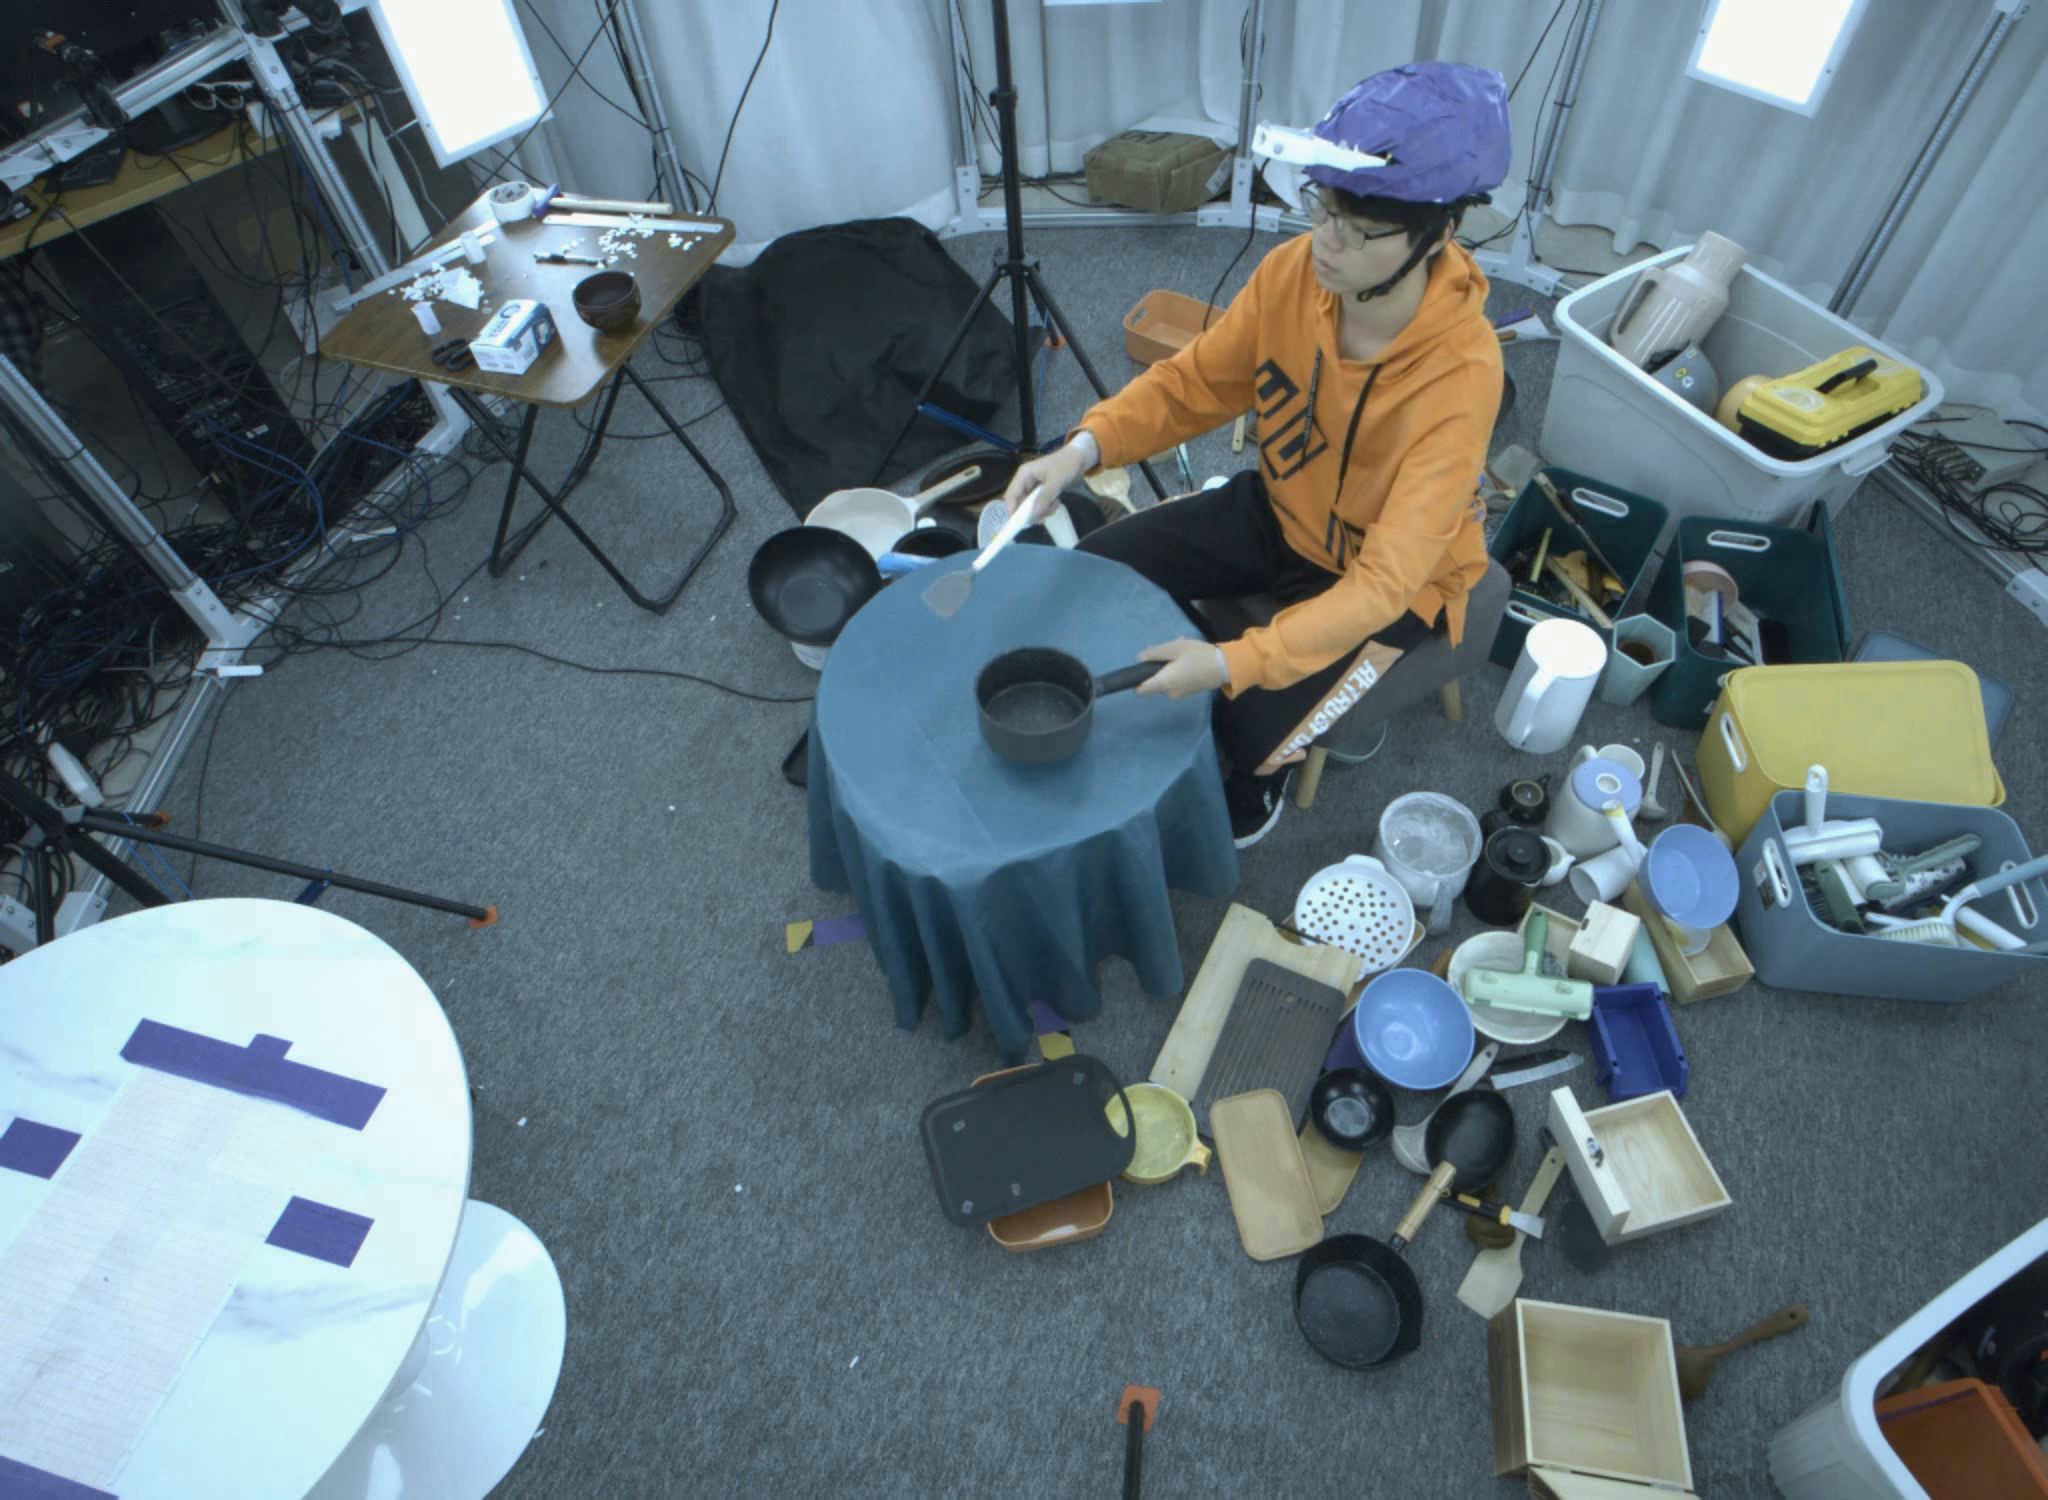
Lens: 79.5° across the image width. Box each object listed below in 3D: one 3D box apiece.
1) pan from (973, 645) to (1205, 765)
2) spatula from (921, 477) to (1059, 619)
[{"bbox_3d":[0.093,-0.078,1.744,0.330,0.087,0.169,-10,52,-8],"label":"pan"},{"bbox_3d":[-0.044,-0.296,1.774,0.059,0.032,0.288,42,67,-7],"label":"spatula"}]
